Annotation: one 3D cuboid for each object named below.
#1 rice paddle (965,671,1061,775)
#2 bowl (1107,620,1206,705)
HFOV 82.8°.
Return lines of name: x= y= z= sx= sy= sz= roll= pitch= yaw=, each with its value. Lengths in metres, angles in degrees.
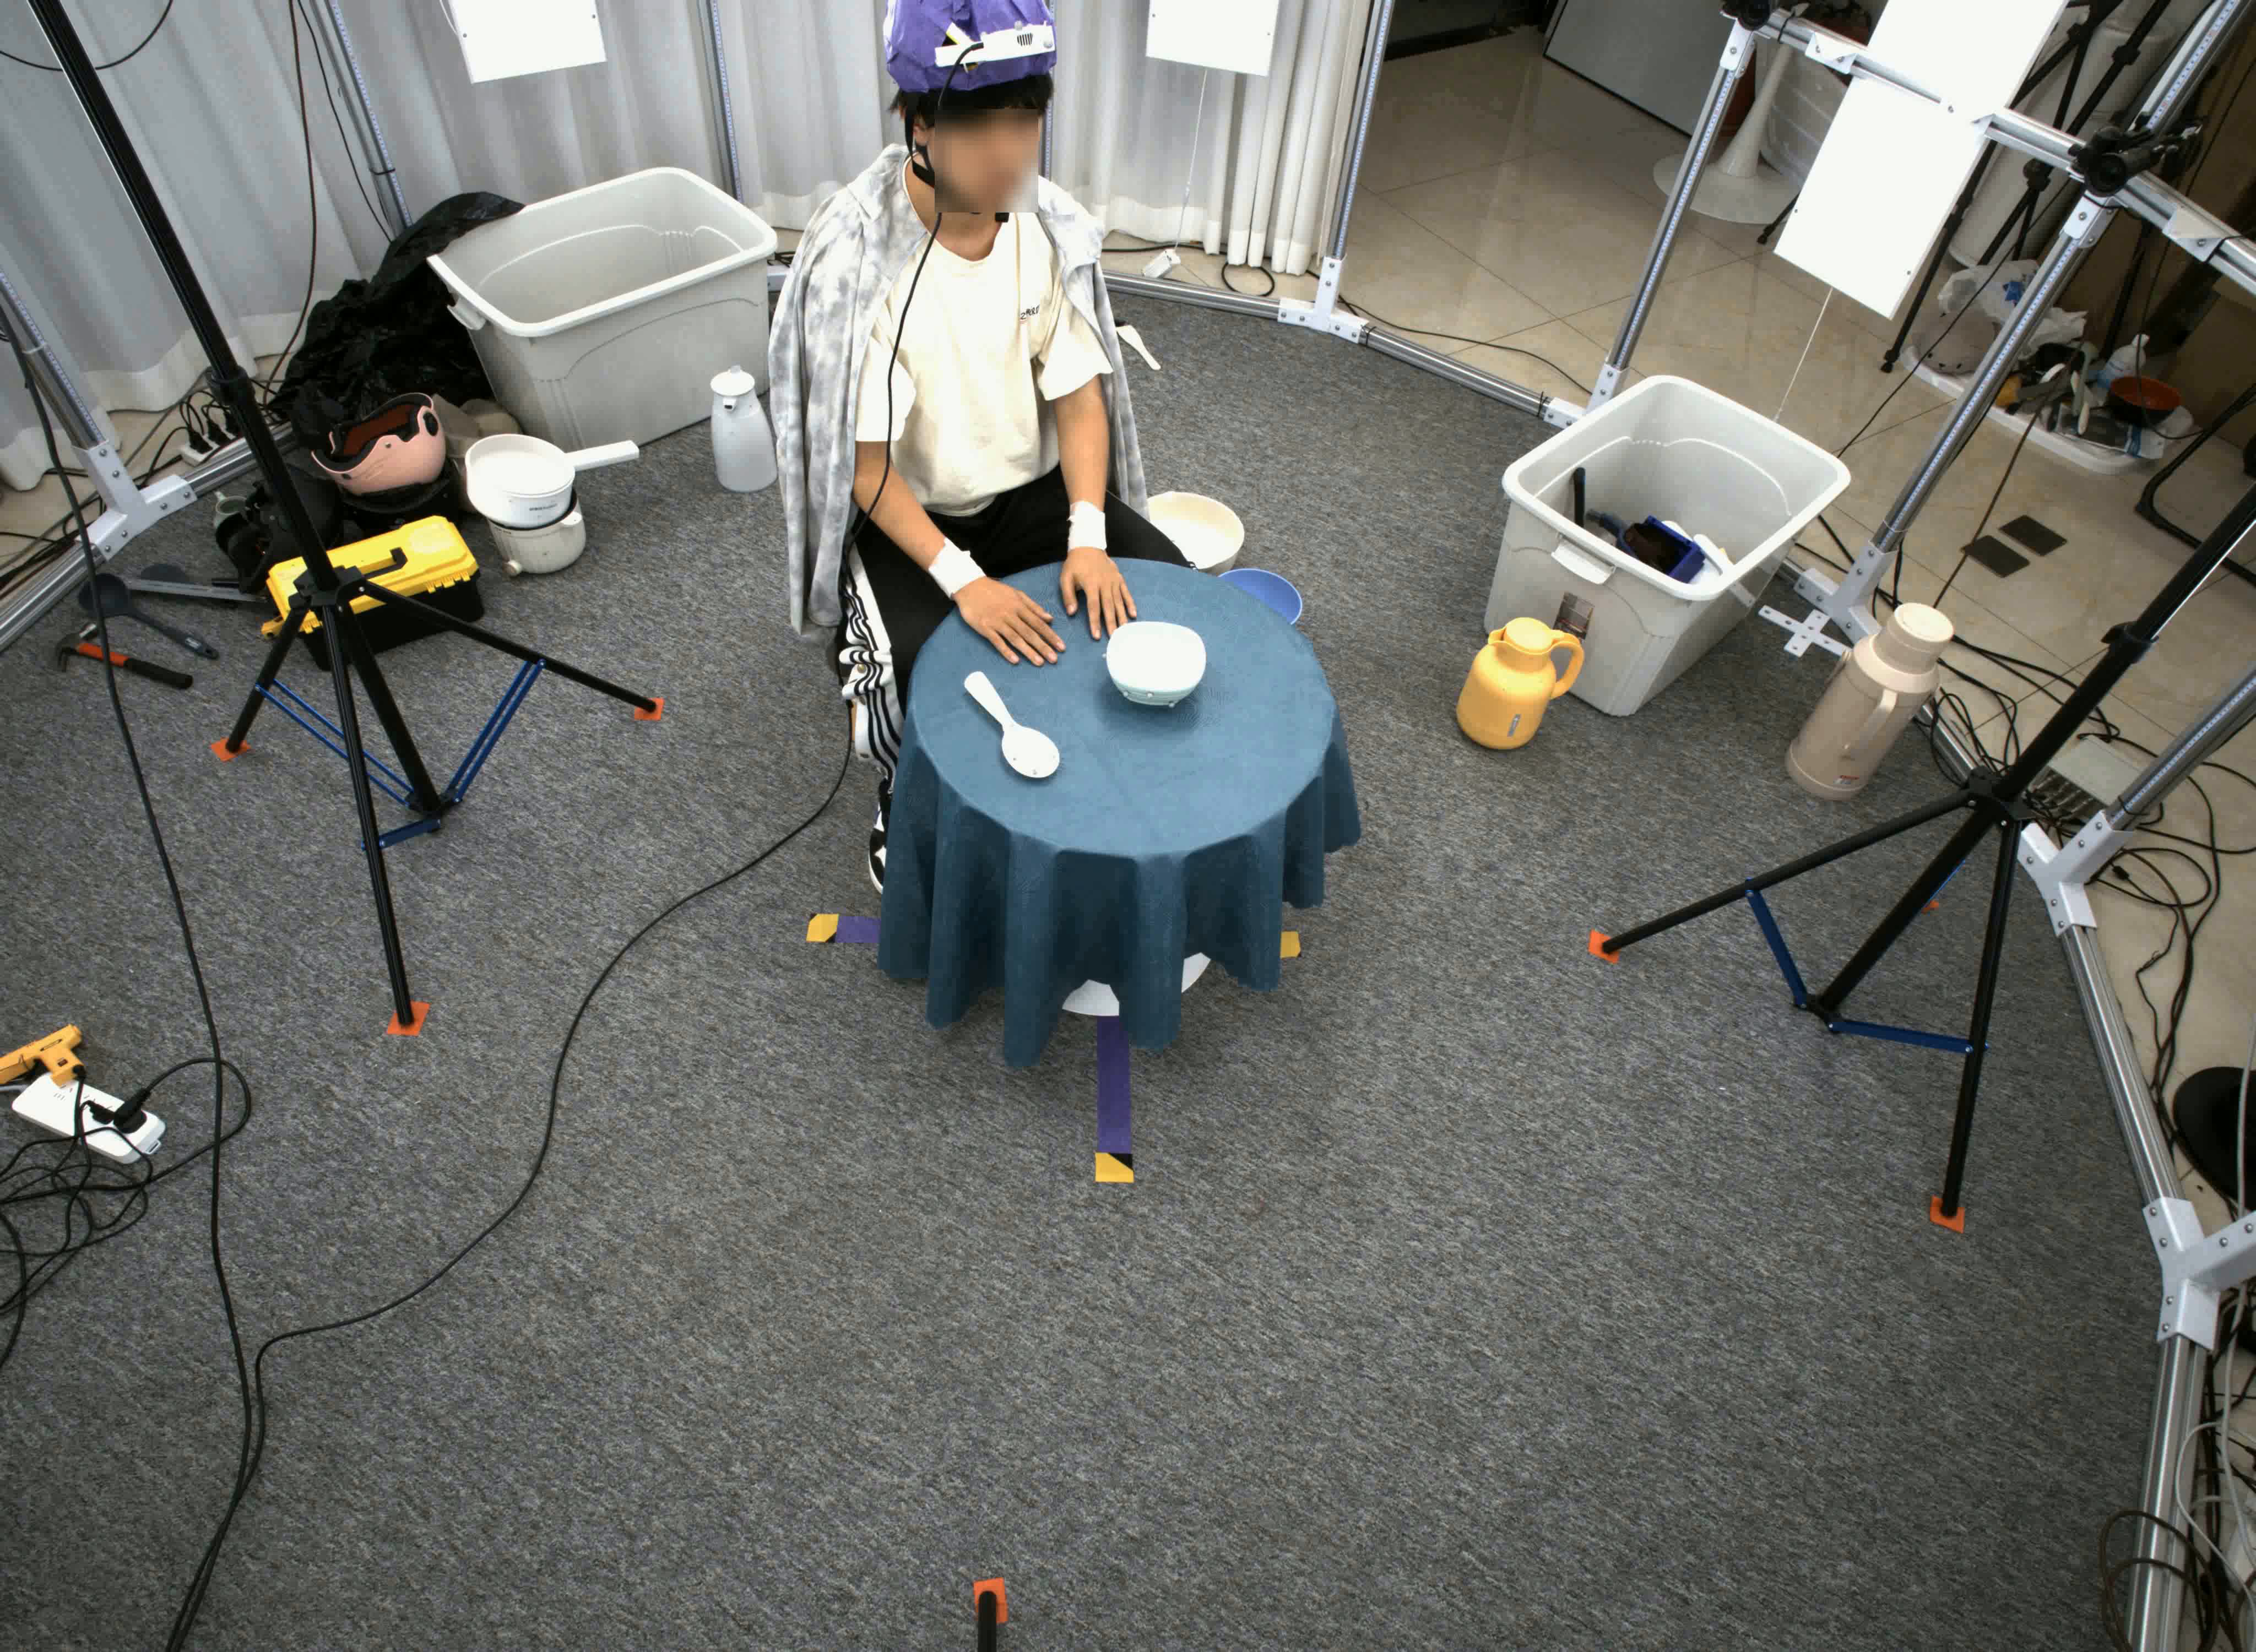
rice paddle: x=-0.160 y=-0.140 z=1.751 sx=0.069 sy=0.029 sz=0.209 roll=-25 pitch=55 yaw=-22
bowl: x=0.039 y=-0.224 z=1.820 sx=0.151 sy=0.057 sz=0.155 roll=1 pitch=51 yaw=-2
